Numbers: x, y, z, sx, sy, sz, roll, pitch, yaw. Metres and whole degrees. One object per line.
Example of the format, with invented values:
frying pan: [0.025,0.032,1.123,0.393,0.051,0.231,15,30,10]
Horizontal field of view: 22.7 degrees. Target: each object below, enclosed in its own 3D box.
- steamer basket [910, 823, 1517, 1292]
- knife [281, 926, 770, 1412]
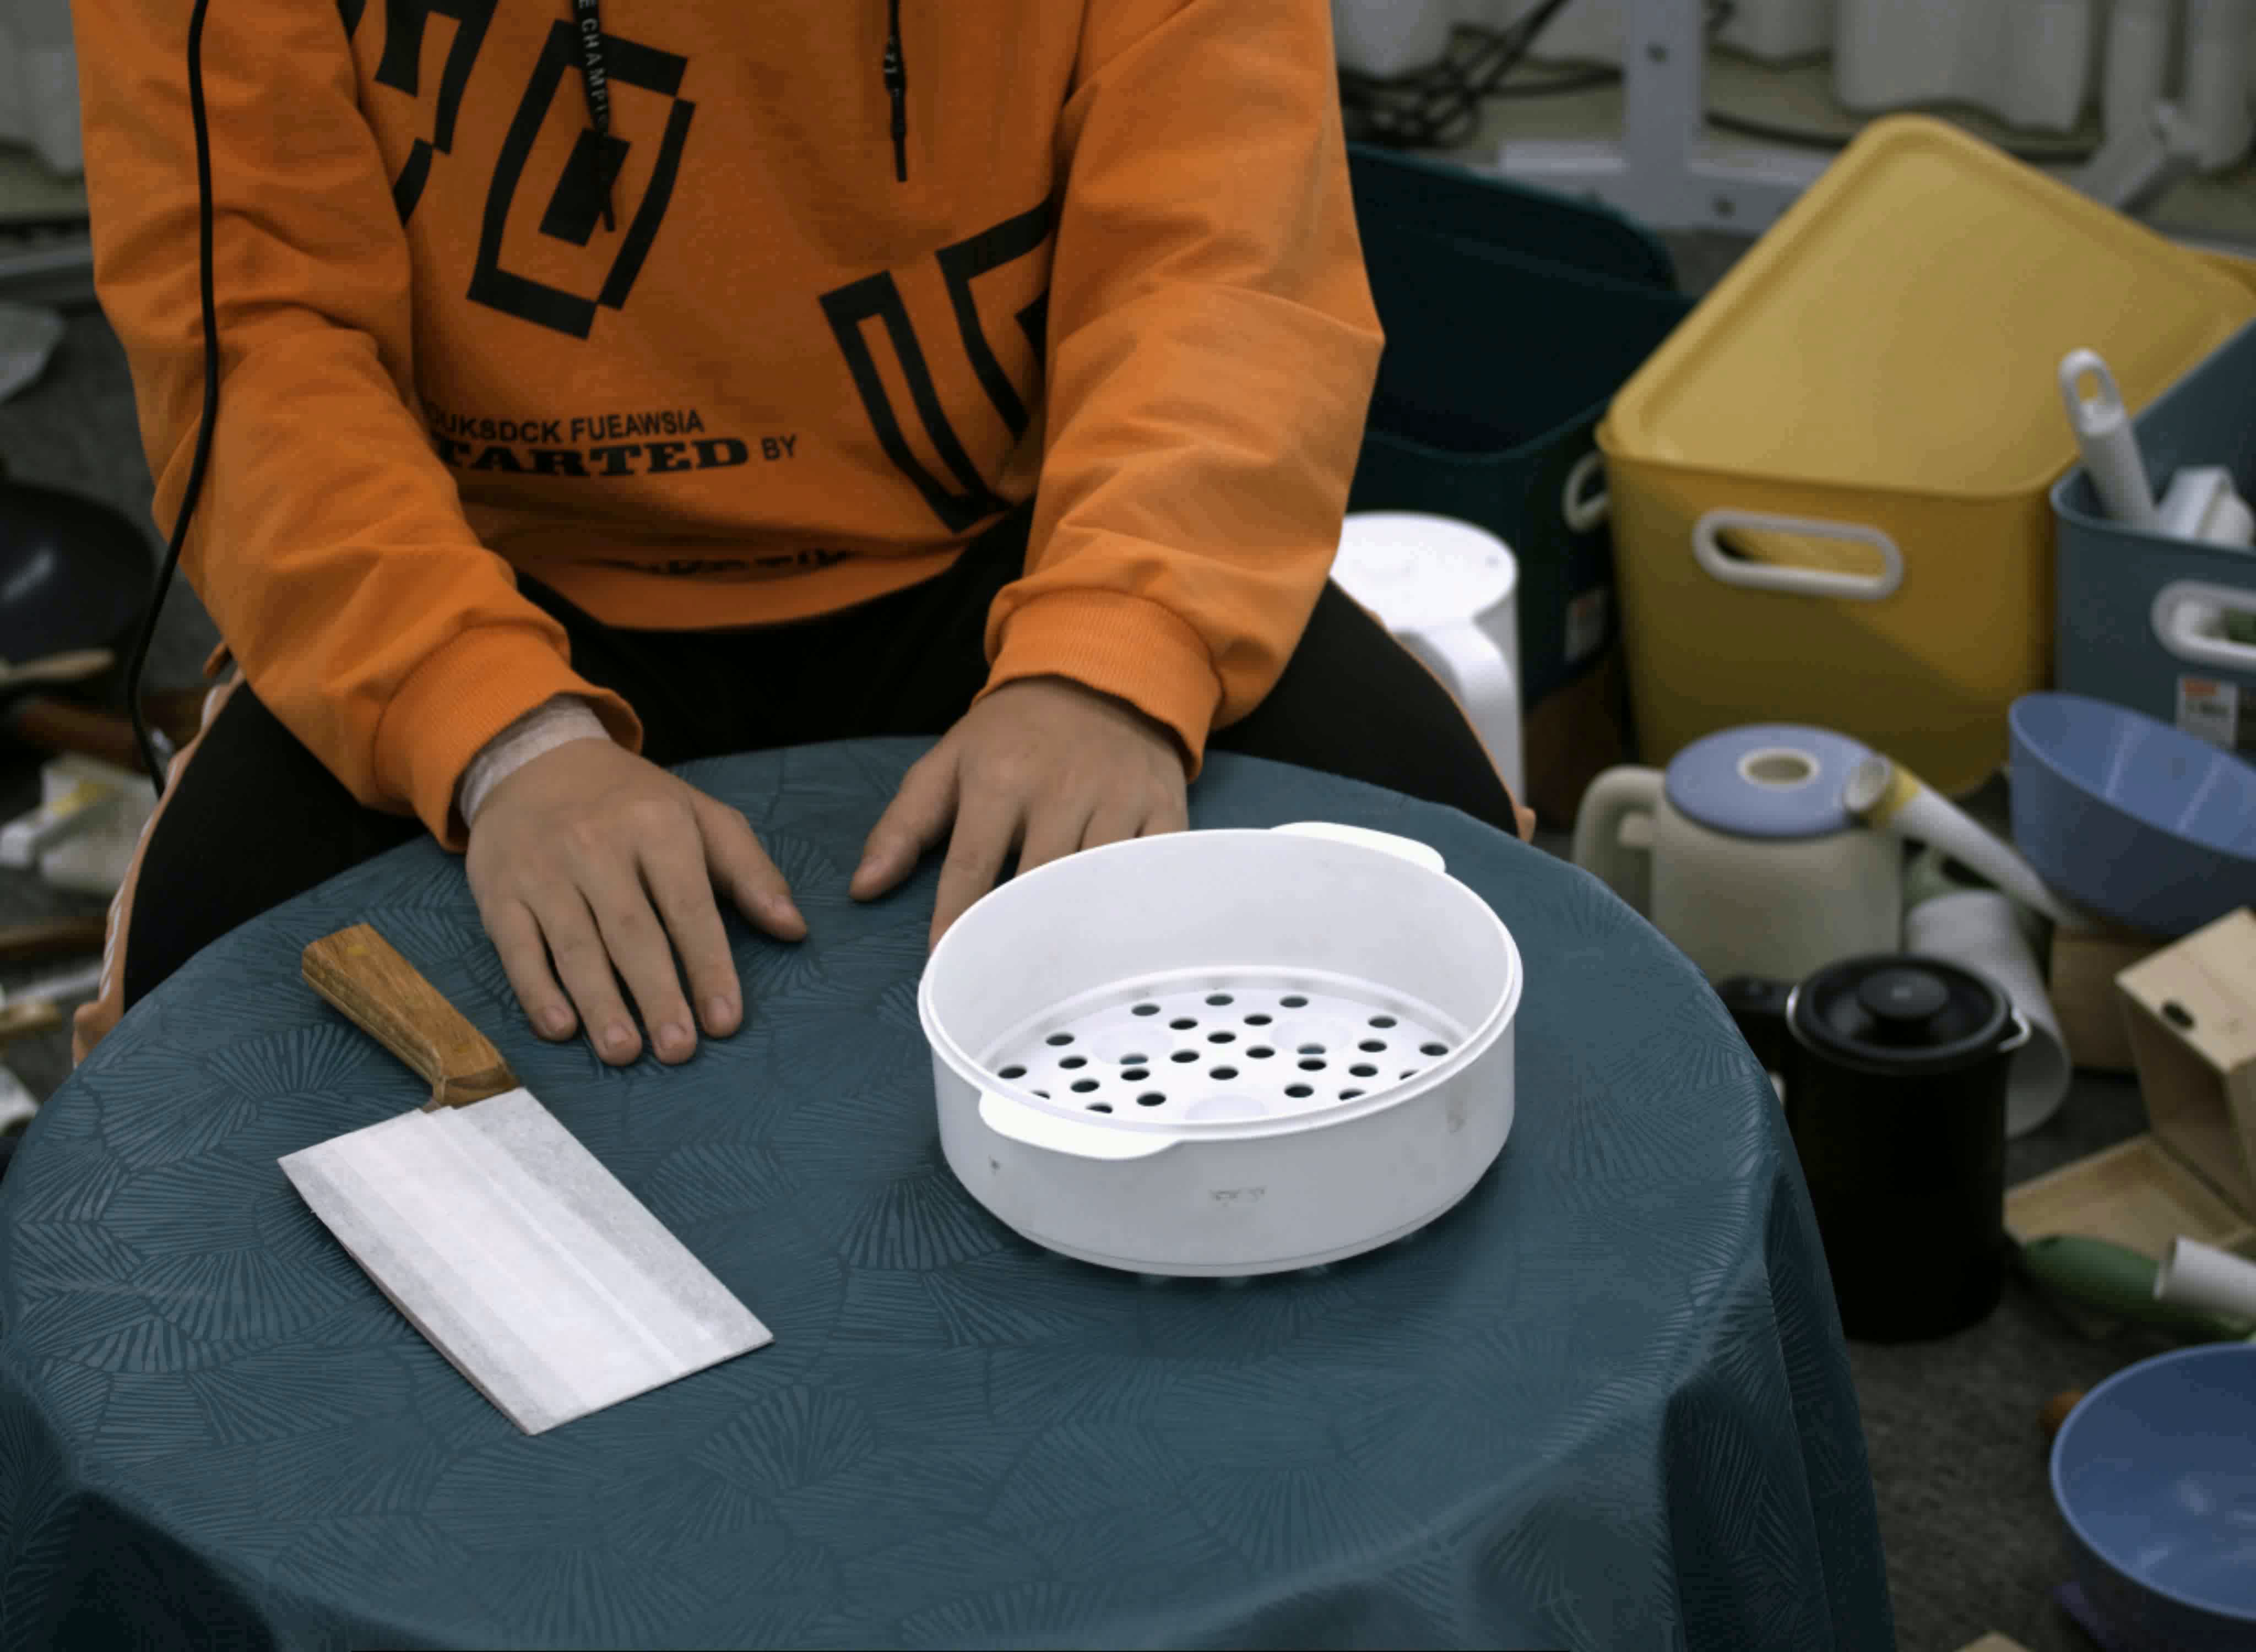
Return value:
steamer basket: [0.030,0.079,1.869,0.200,0.068,0.234,11,32,27]
knife: [-0.228,0.115,1.882,0.093,0.021,0.307,-20,34,-26]
